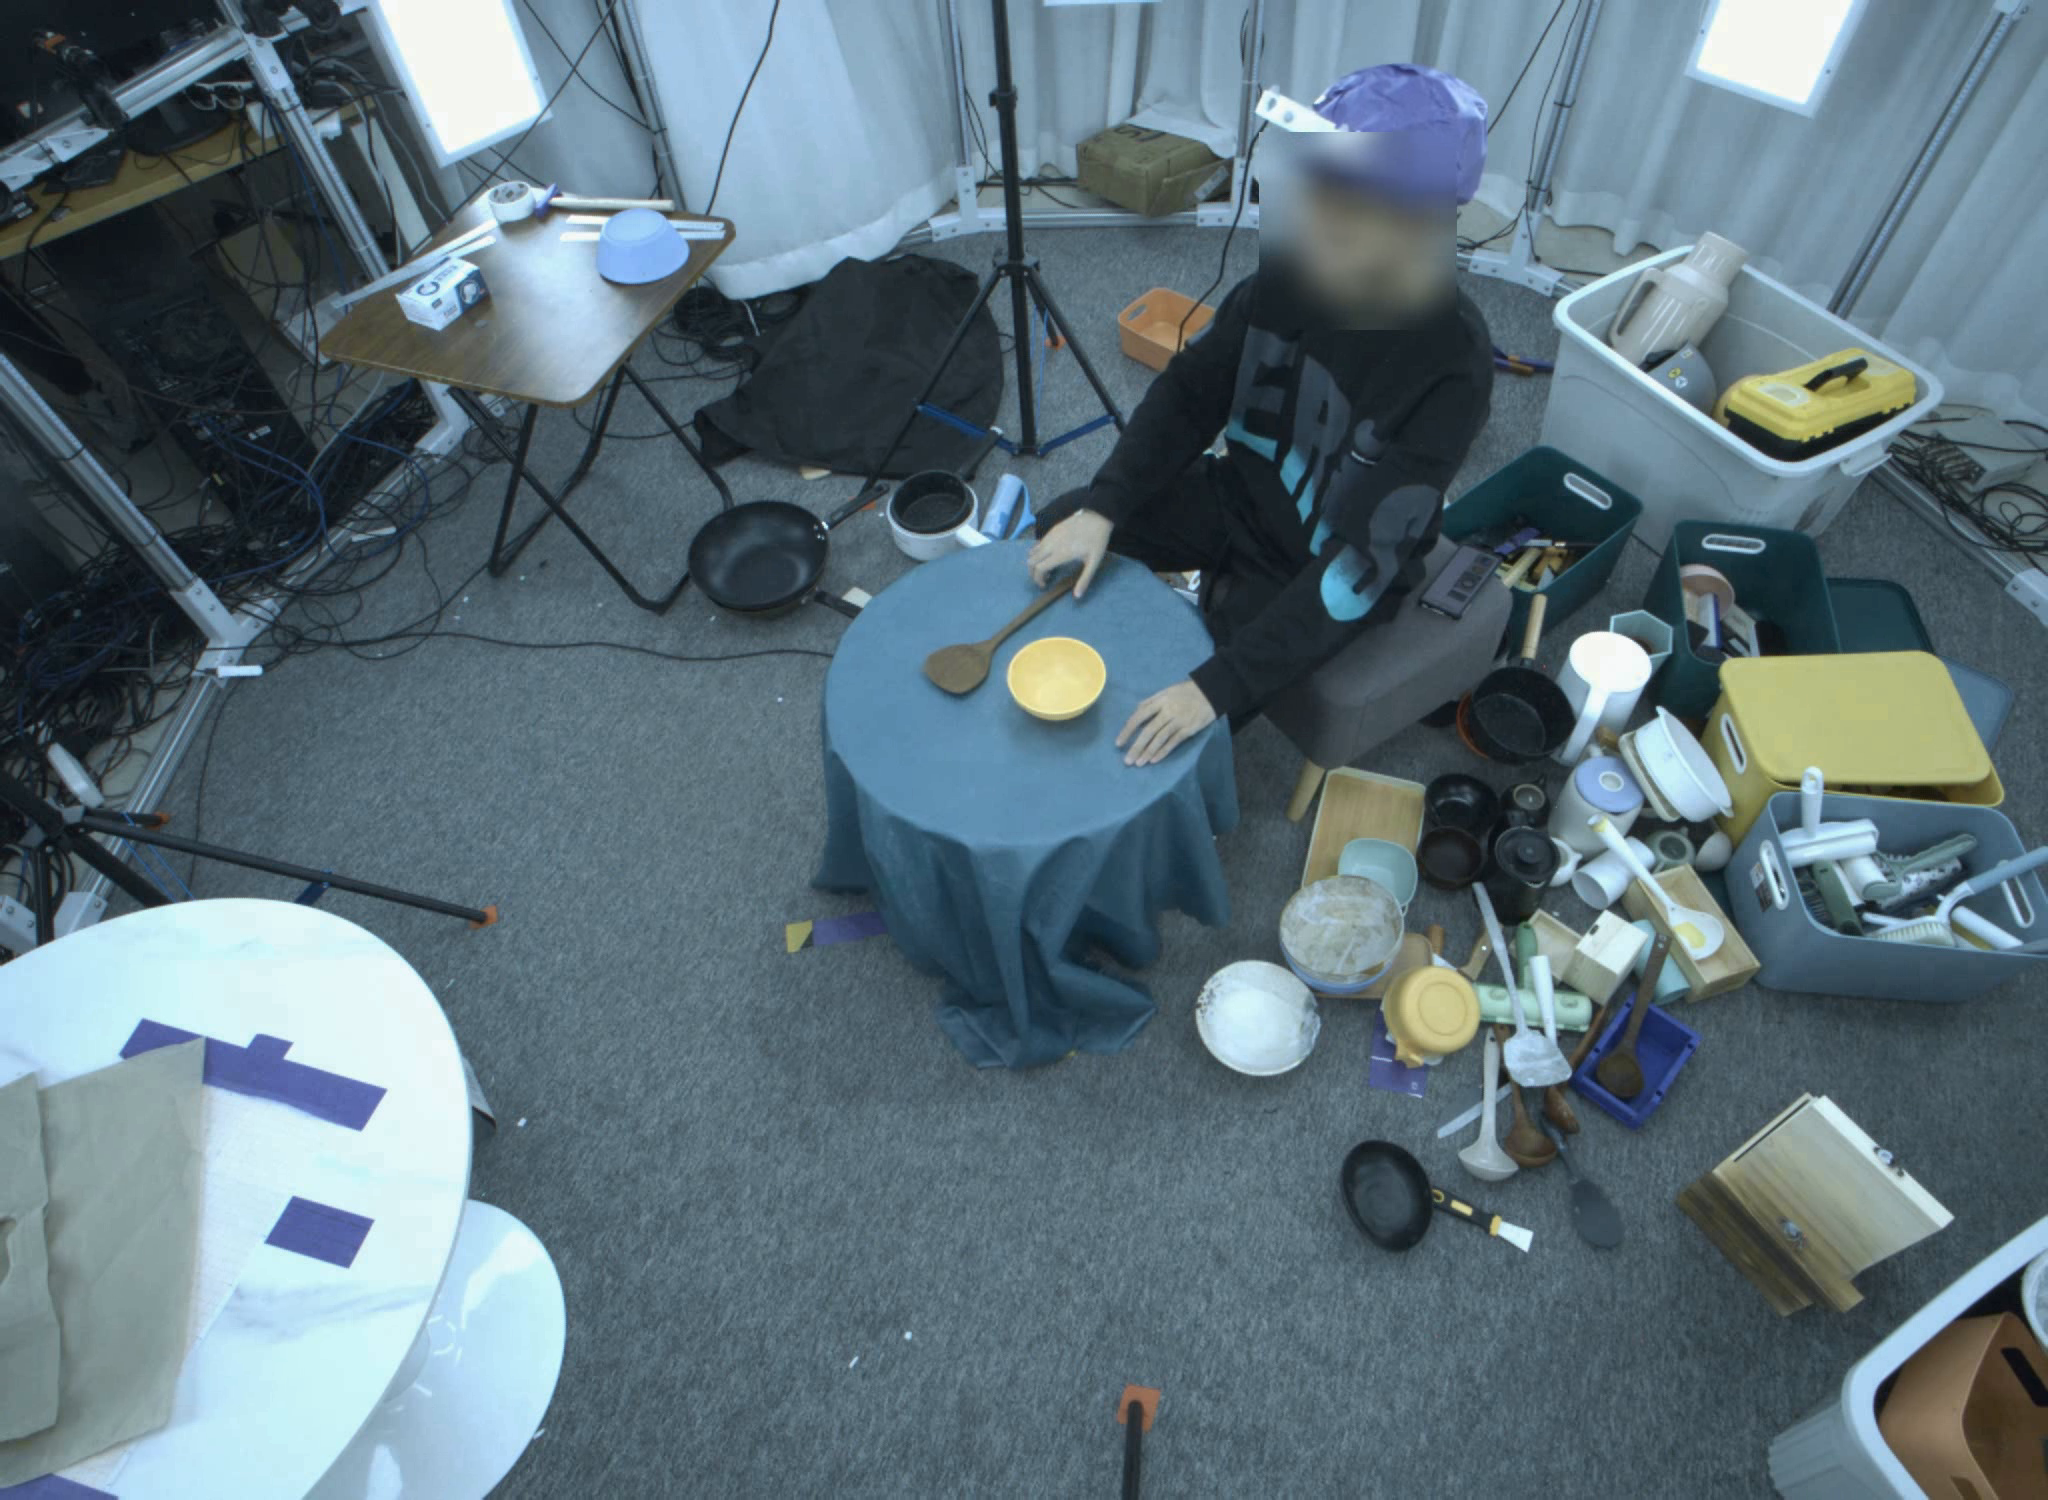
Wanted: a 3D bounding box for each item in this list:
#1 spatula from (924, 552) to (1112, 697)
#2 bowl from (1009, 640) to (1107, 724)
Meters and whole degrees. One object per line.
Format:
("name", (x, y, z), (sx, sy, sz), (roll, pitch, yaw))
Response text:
("spatula", (0.004, -0.209, 1.936), (0.094, 0.016, 0.388), (38, 64, 24))
("bowl", (0.050, -0.090, 1.826), (0.145, 0.060, 0.144), (1, 56, 0))
